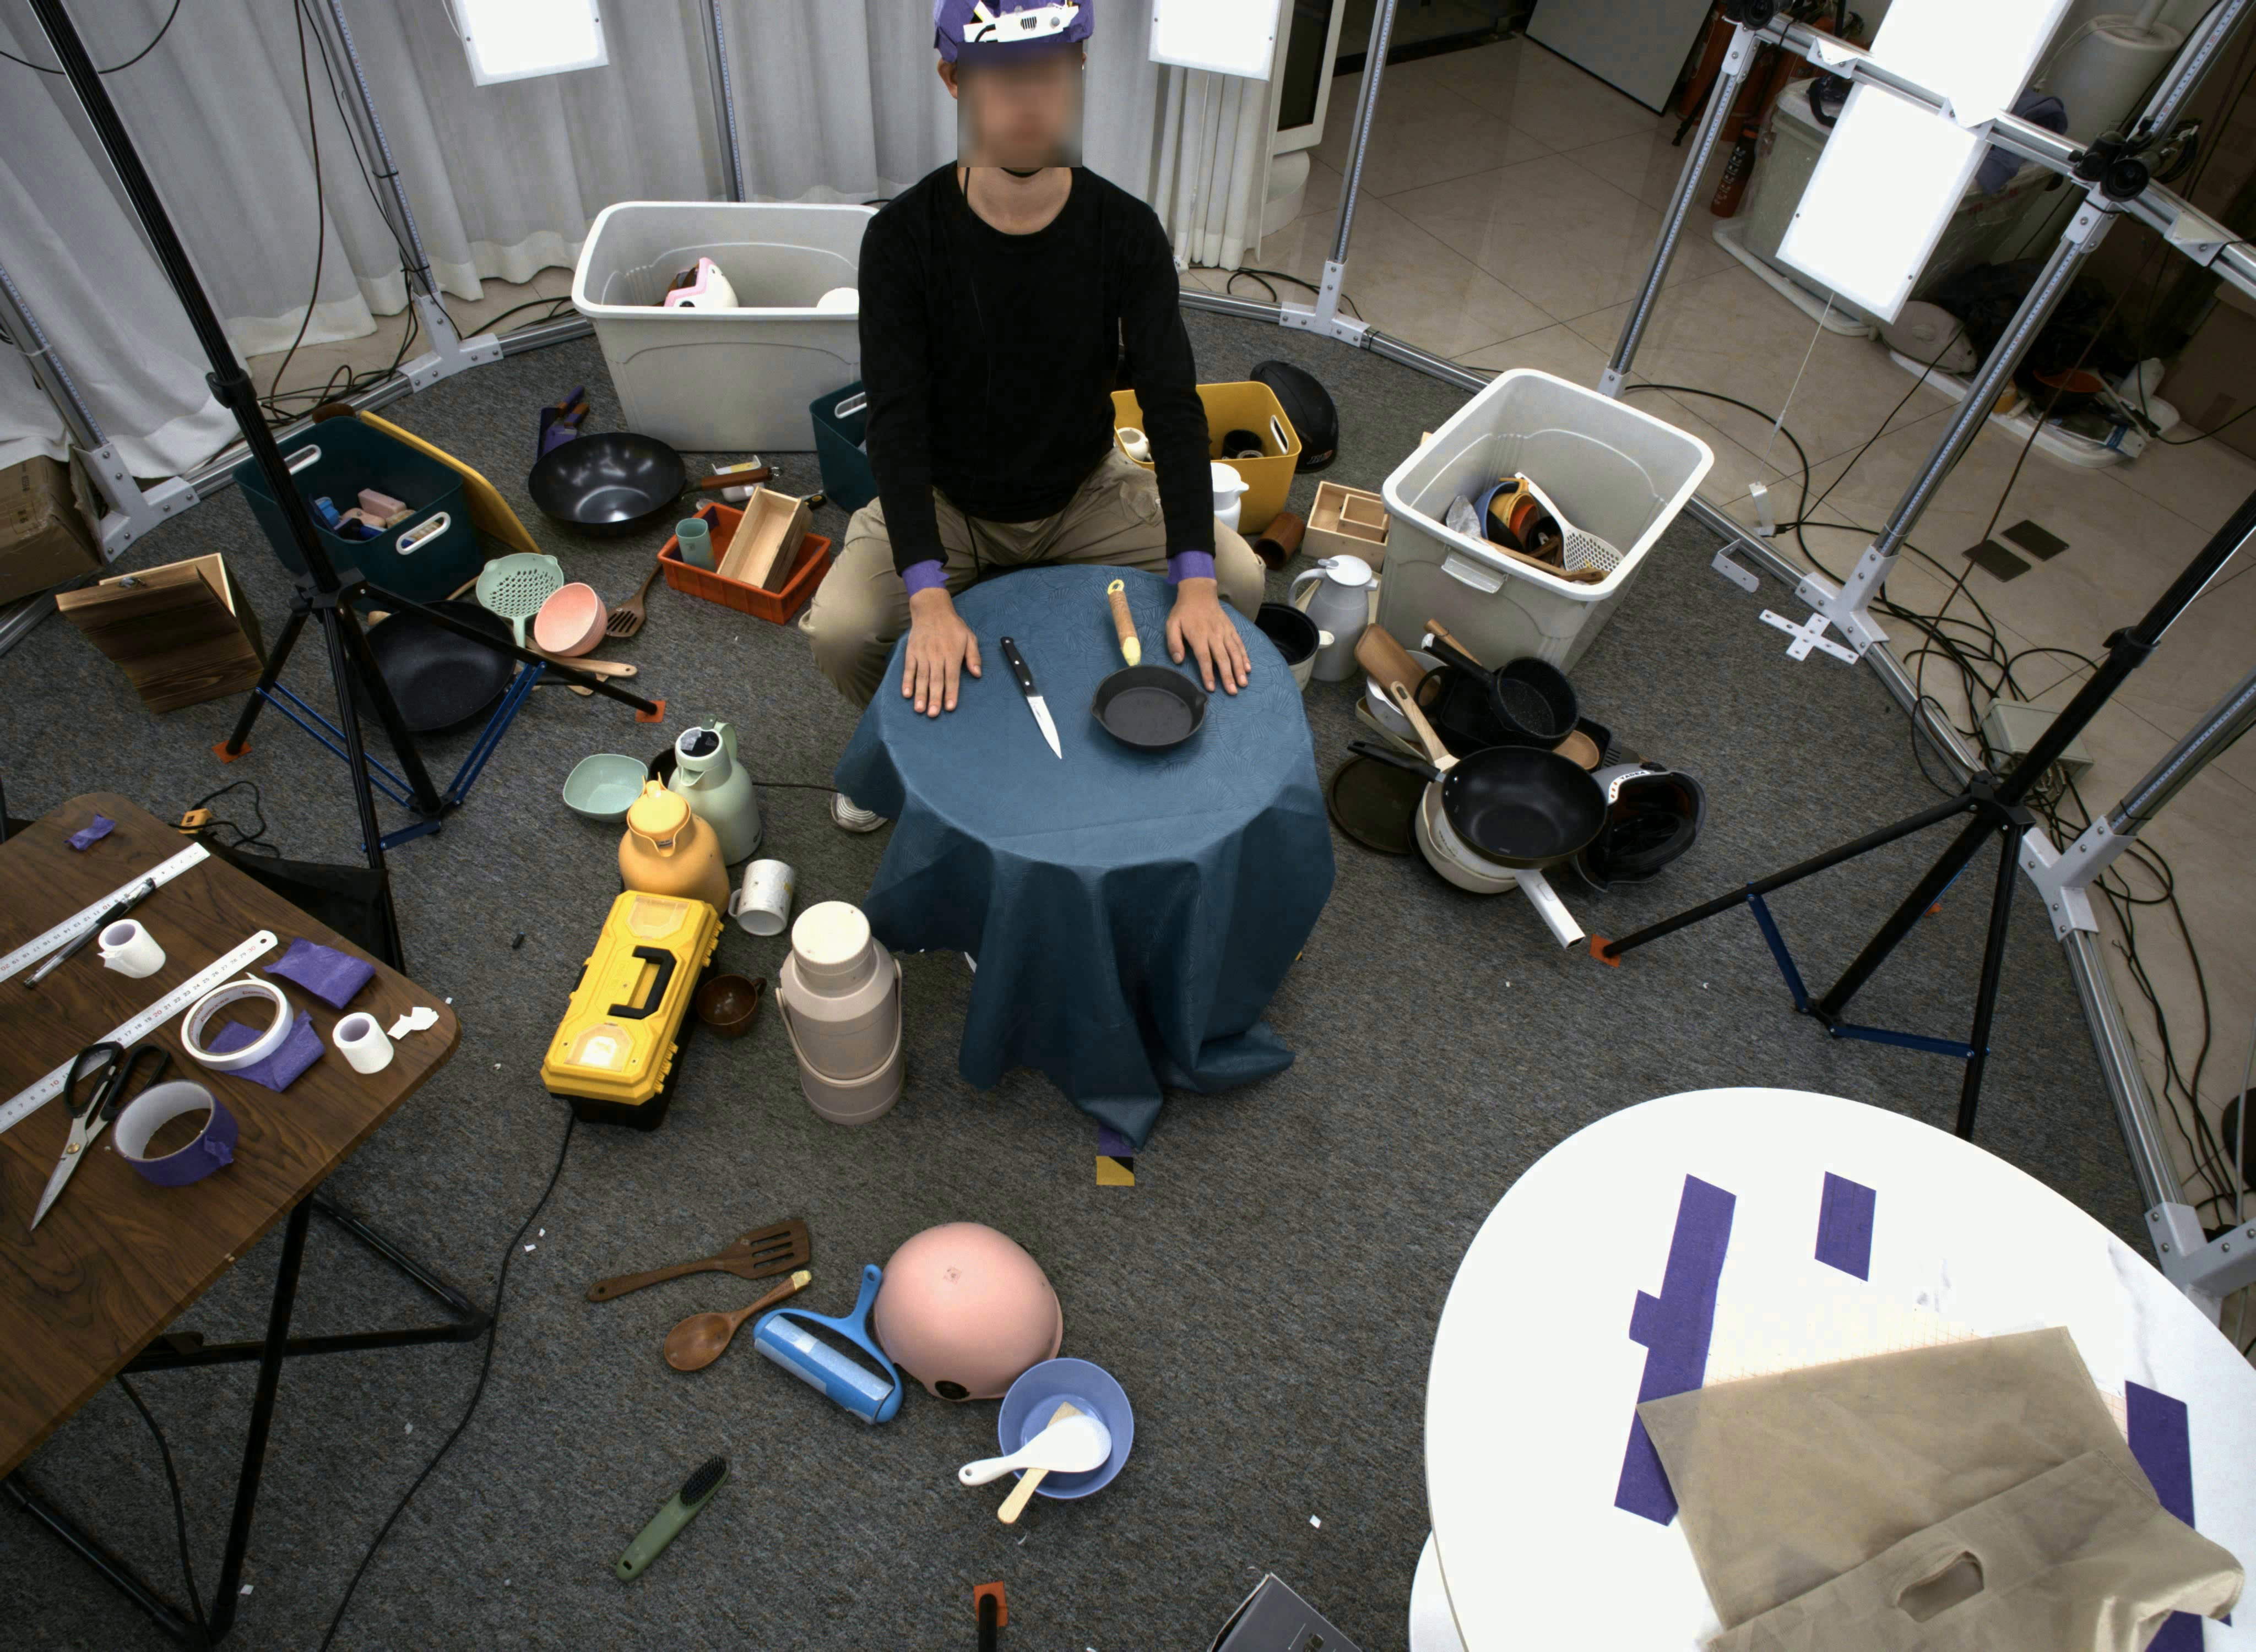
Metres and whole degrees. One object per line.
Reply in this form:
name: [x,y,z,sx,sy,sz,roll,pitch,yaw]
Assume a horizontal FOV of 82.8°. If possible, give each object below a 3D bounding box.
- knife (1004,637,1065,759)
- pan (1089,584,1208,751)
knife: [-0.133,-0.182,1.812,0.024,0.016,0.244,-14,54,-17]
pan: [0.014,-0.229,1.839,0.169,0.048,0.332,-6,49,-9]
